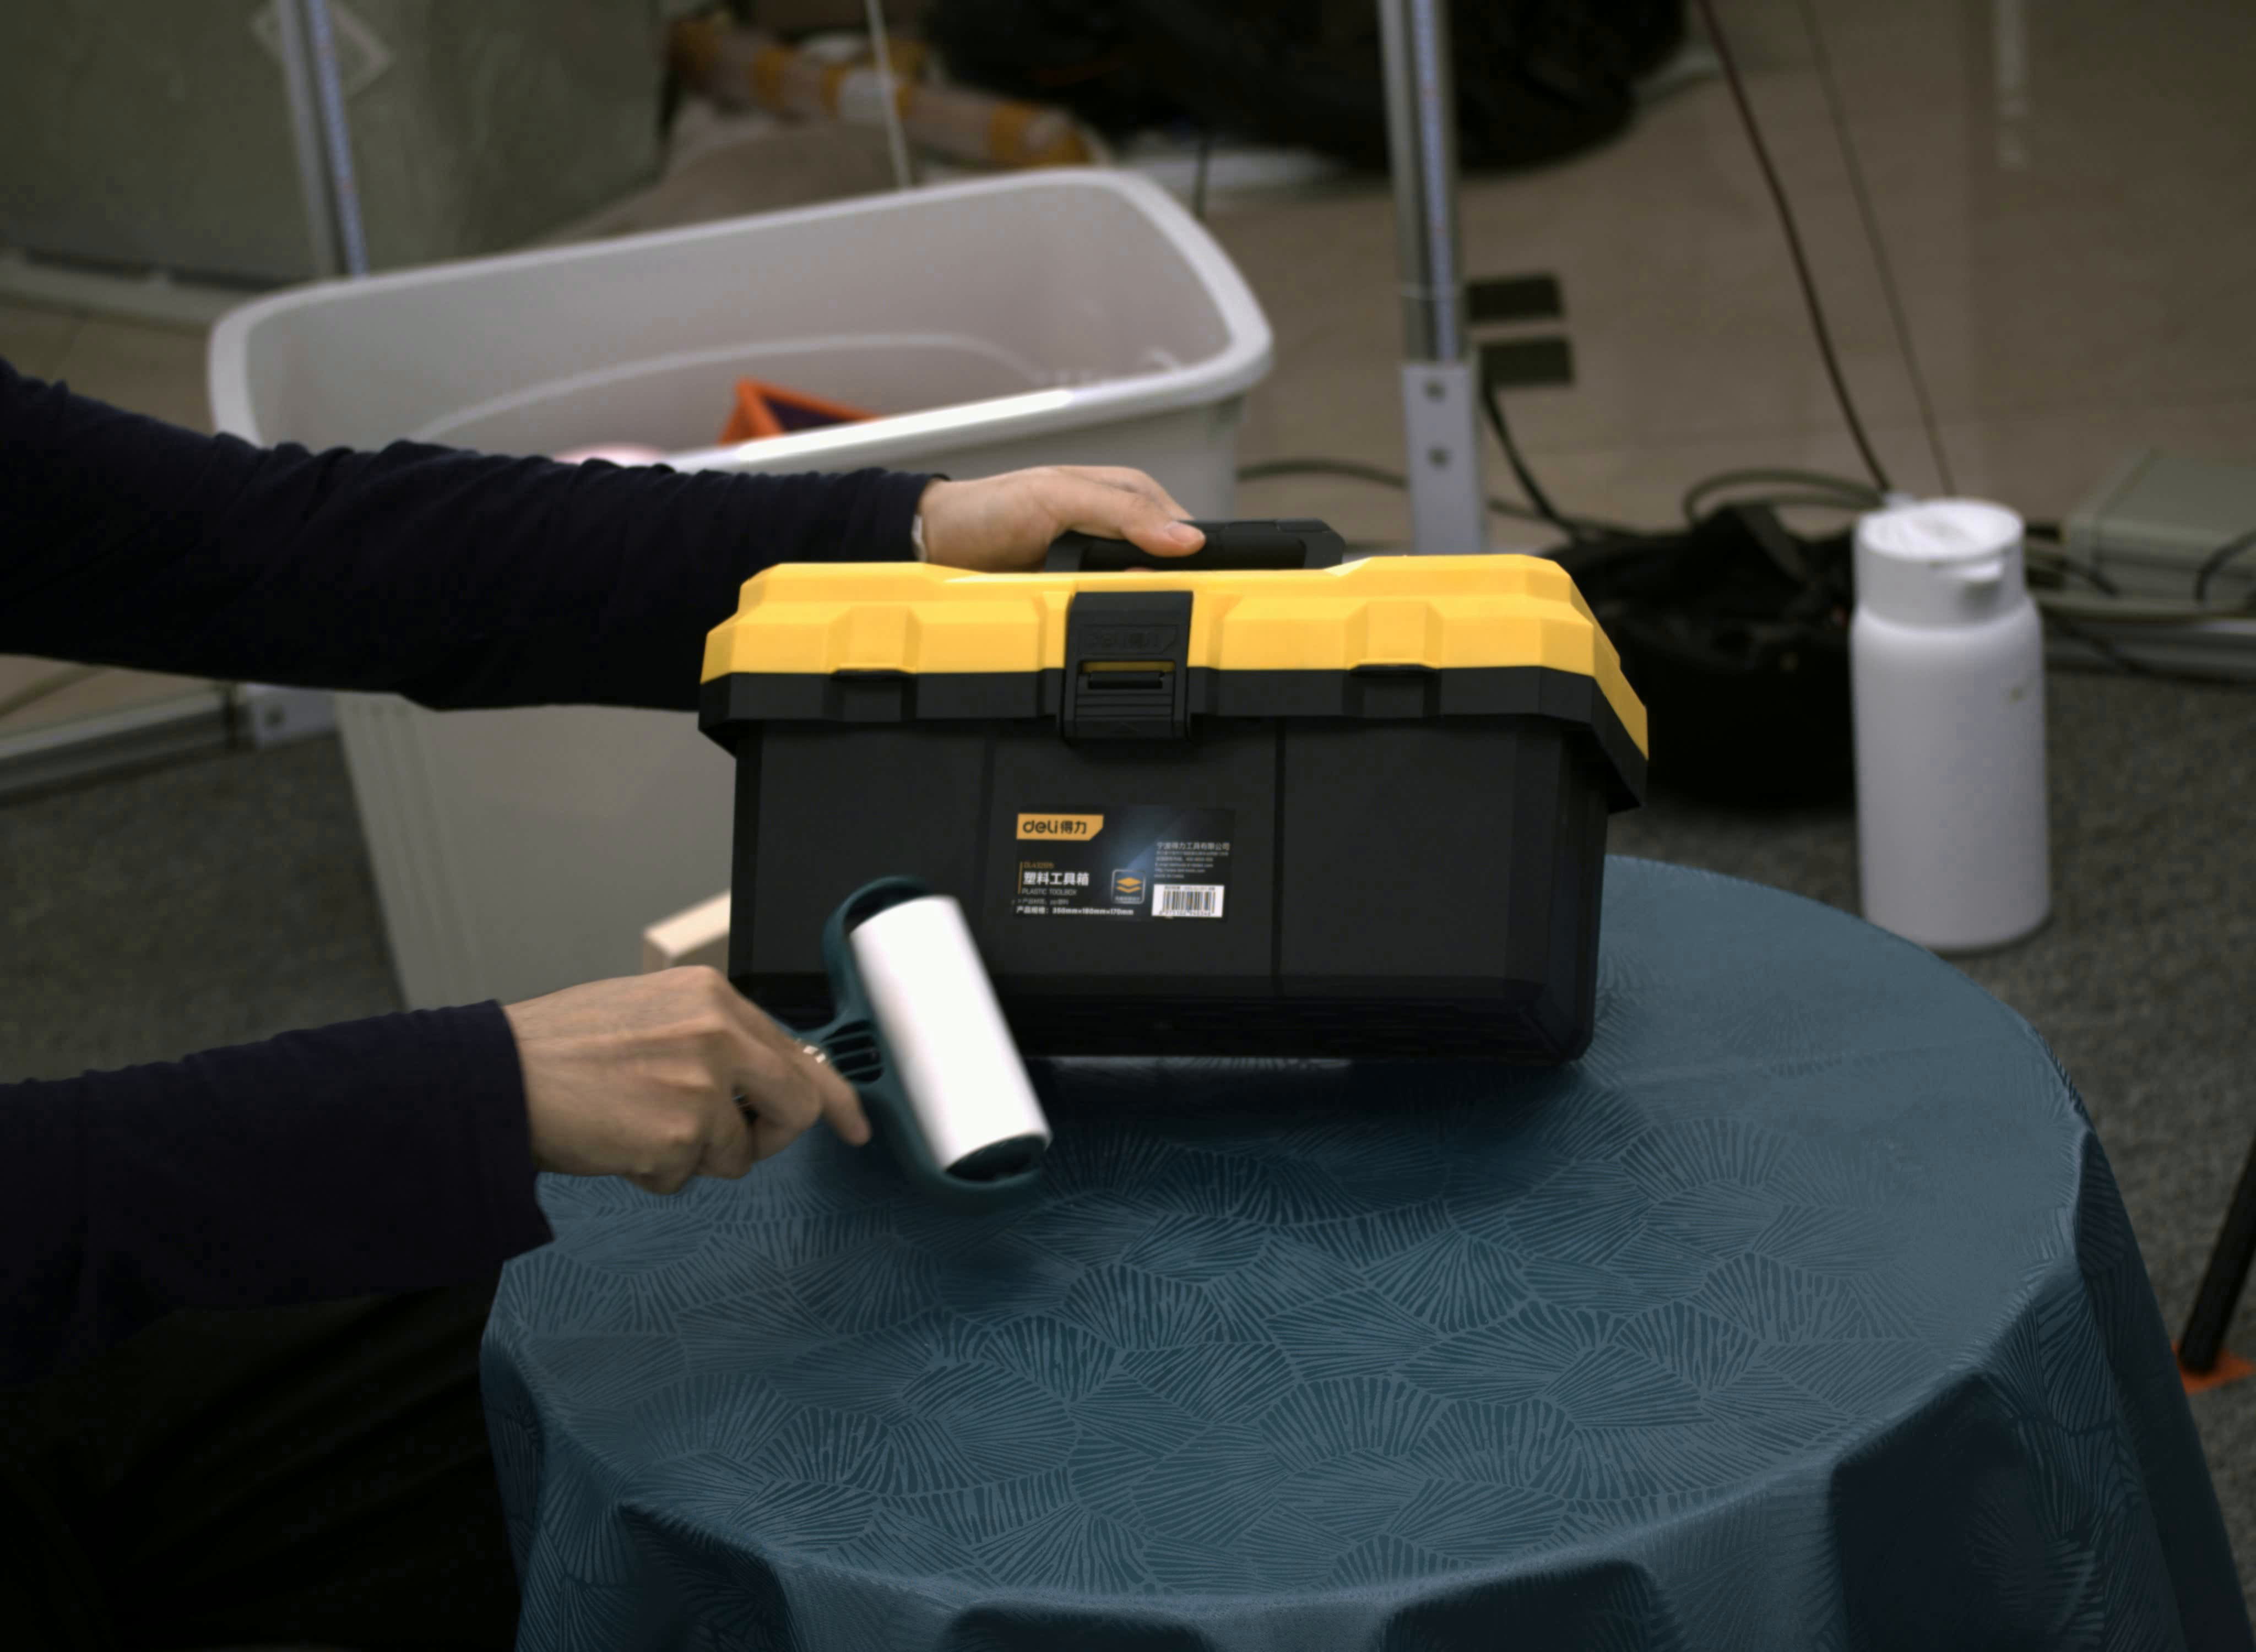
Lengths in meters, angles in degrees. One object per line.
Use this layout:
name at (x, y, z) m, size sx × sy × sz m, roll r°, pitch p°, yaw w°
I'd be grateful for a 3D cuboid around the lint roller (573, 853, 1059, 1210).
lint roller at (-0.117, 0.086, 2.067) m, size 0.179 × 0.133 × 0.049 m, roll -10°, pitch -20°, yaw -37°

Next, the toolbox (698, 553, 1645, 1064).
toolbox at (0.016, -0.005, 2.200) m, size 0.351 × 0.172 × 0.183 m, roll 0°, pitch -12°, yaw 14°
